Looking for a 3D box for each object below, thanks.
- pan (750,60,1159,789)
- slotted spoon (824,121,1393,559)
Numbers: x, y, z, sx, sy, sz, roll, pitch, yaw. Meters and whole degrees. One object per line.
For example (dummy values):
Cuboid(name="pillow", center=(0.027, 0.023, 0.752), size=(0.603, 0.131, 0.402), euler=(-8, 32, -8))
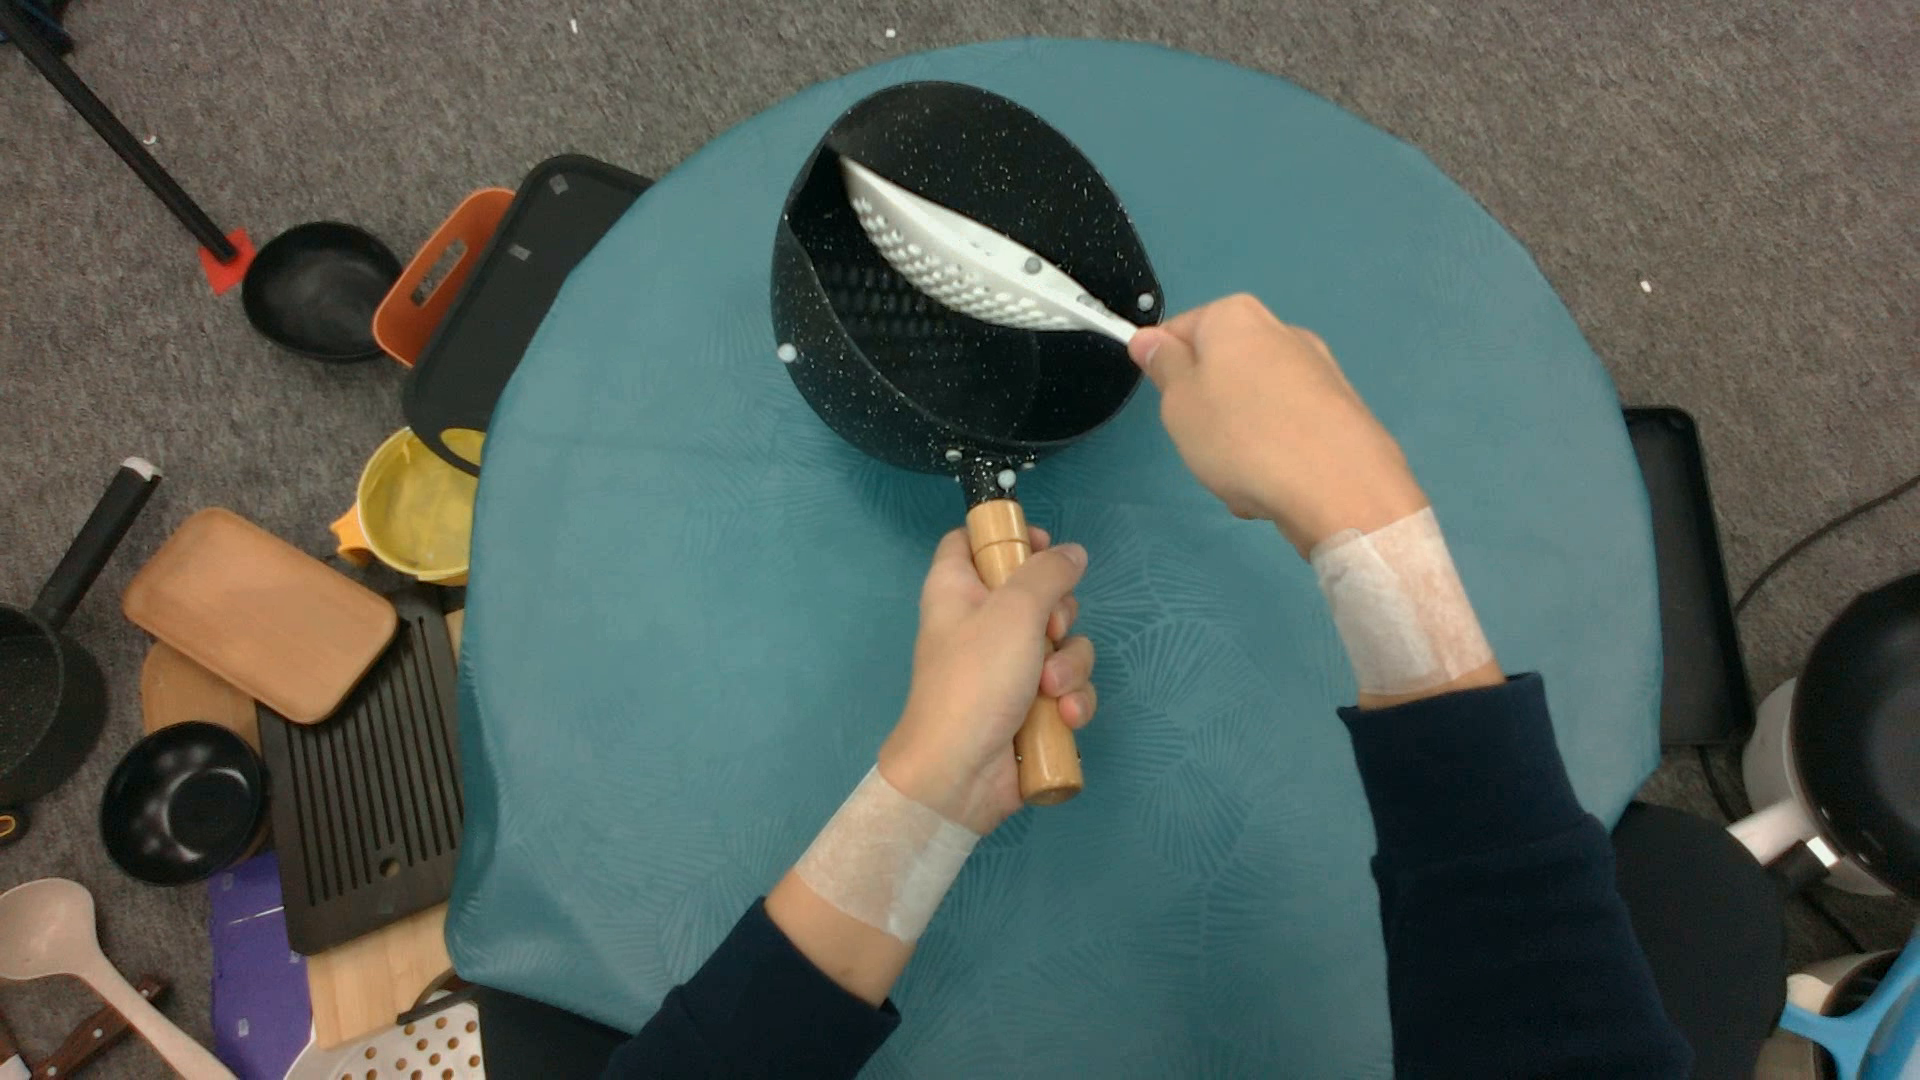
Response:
Cuboid(name="pan", center=(0.000, -0.052, 0.629), size=(0.208, 0.108, 0.343), euler=(5, 69, -30))
Cuboid(name="slotted spoon", center=(0.052, -0.095, 0.586), size=(0.348, 0.137, 0.050), euler=(38, 105, 43))
